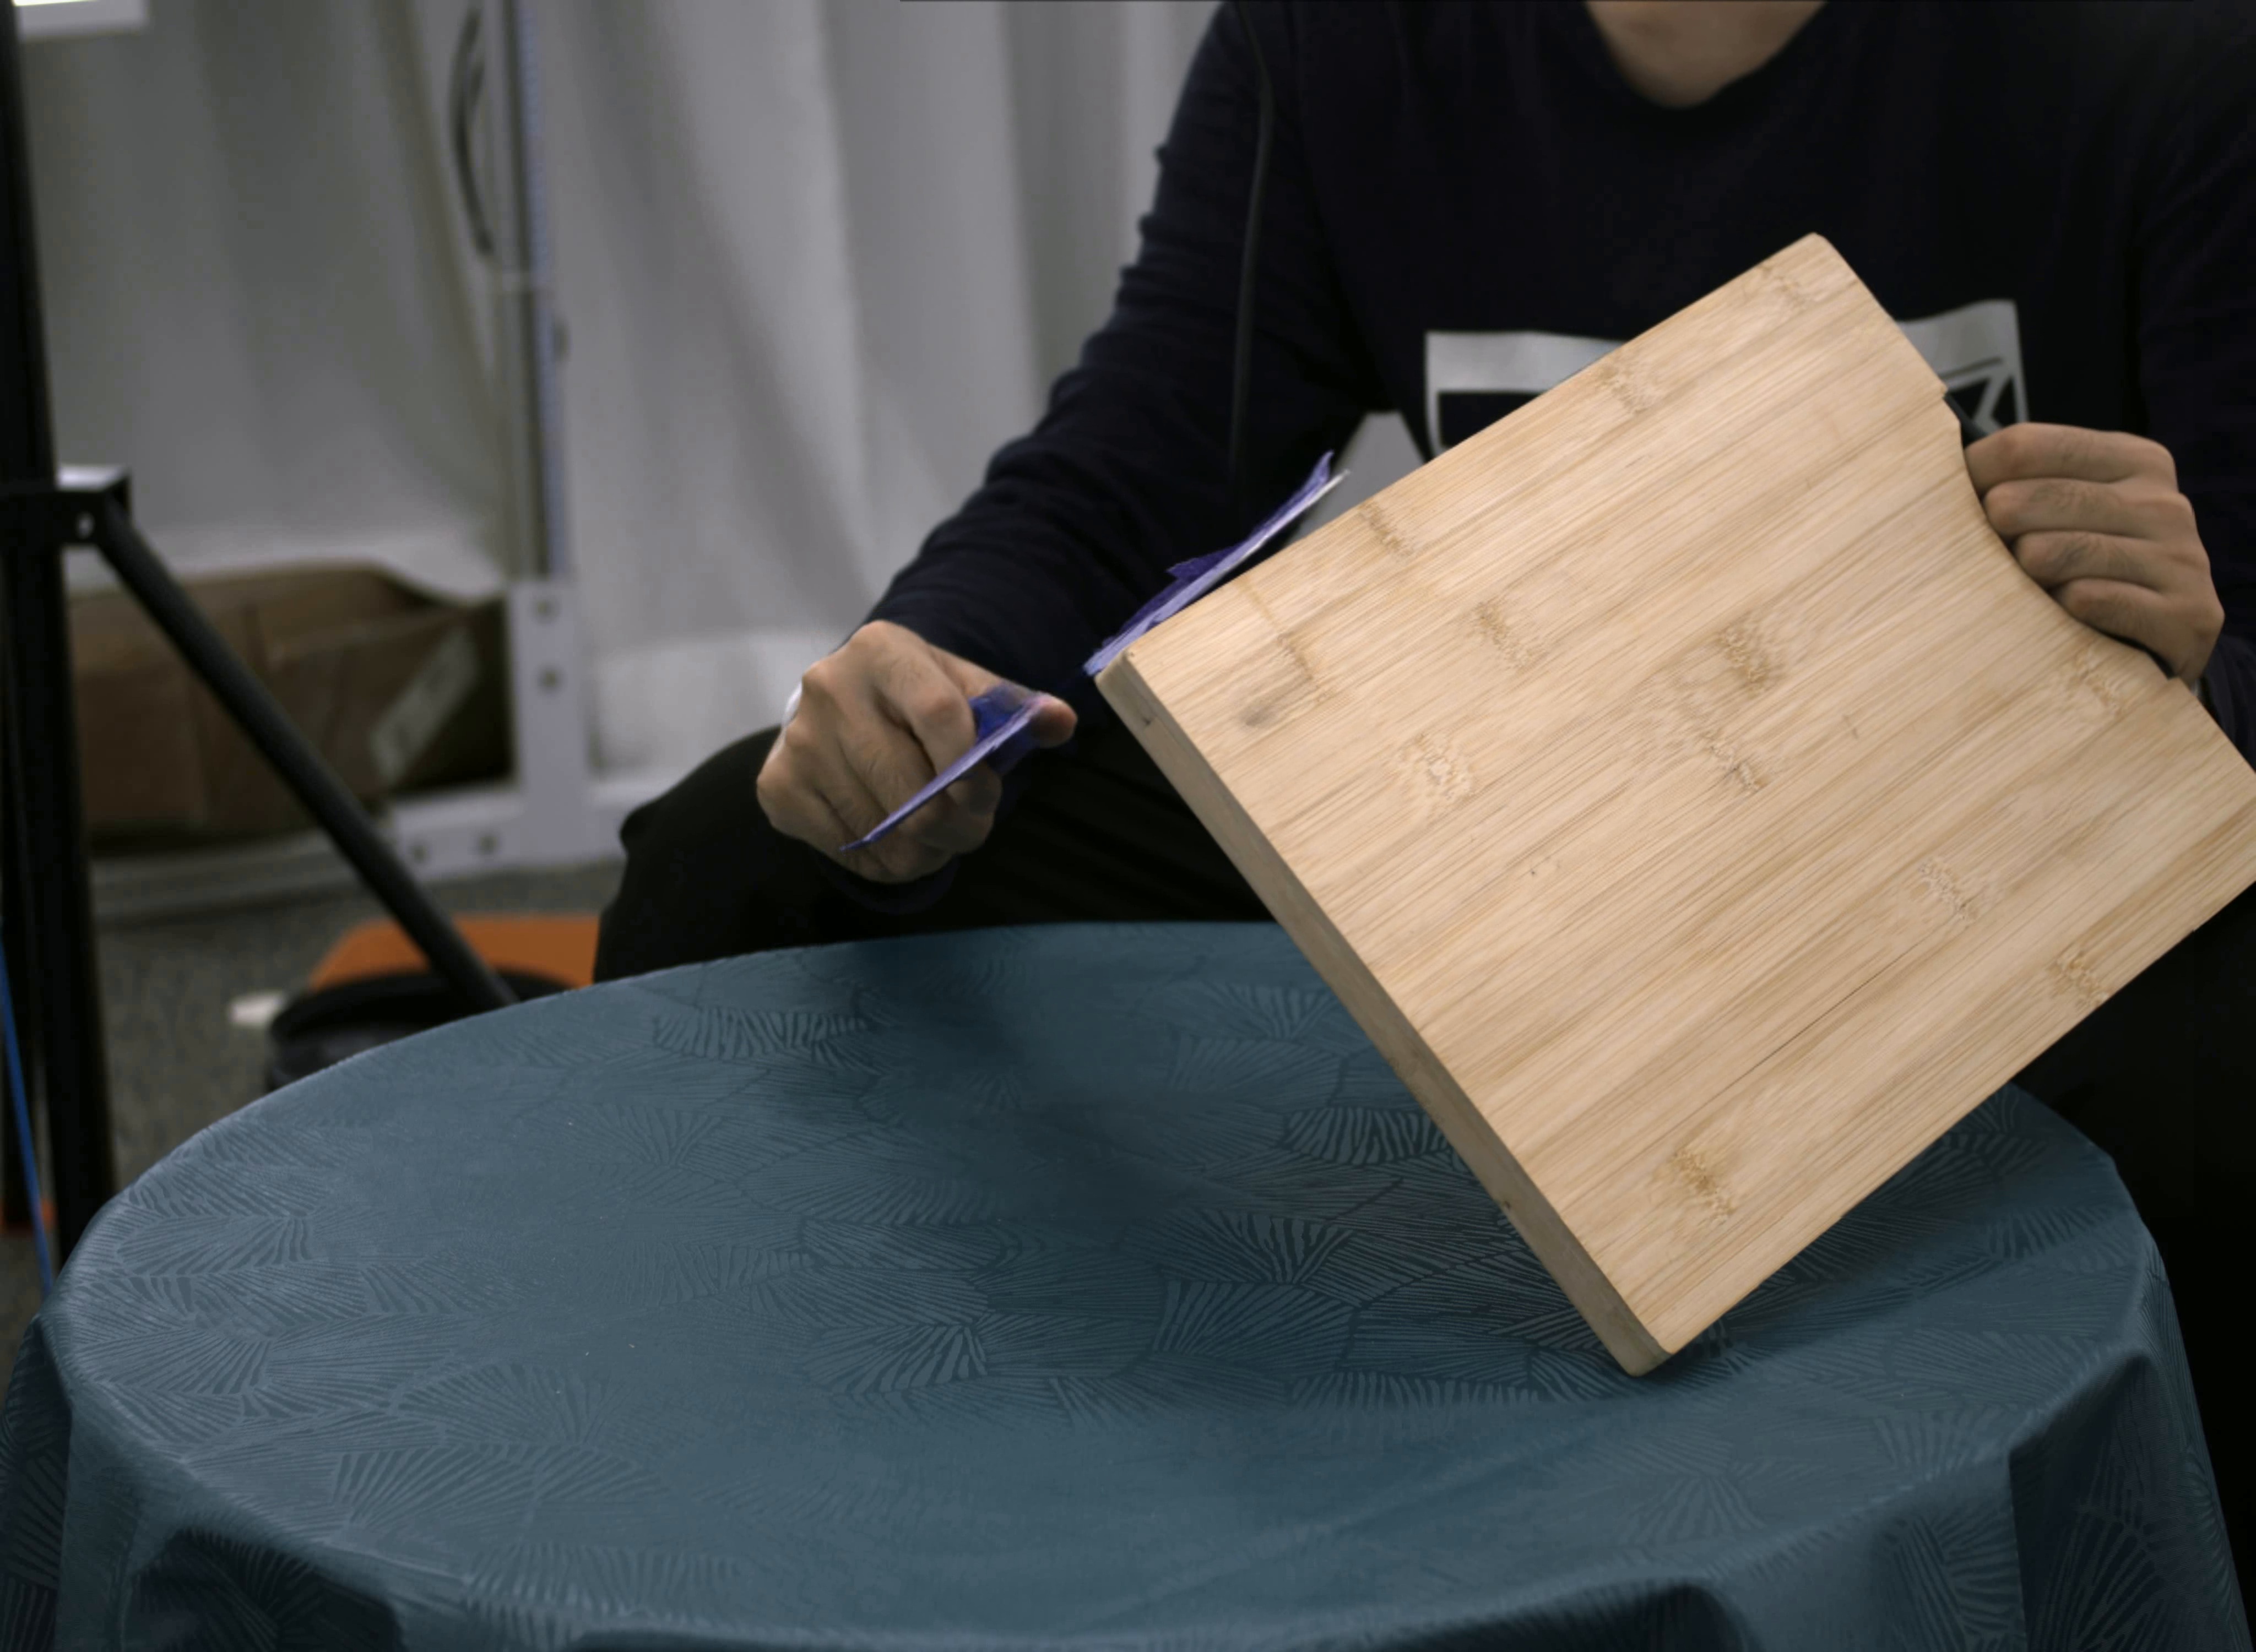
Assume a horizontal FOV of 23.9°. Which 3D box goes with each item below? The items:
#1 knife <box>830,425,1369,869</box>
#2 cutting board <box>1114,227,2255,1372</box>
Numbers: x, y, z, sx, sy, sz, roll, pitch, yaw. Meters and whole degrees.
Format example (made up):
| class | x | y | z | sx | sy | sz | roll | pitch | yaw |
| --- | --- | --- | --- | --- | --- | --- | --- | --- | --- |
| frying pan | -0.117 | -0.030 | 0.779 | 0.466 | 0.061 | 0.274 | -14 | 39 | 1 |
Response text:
| class | x | y | z | sx | sy | sz | roll | pitch | yaw |
| --- | --- | --- | --- | --- | --- | --- | --- | --- | --- |
| knife | -0.035 | -0.036 | 1.591 | 0.102 | 0.032 | 0.319 | -39 | 0 | -33 |
| cutting board | 0.177 | -0.019 | 1.524 | 0.342 | 0.252 | 0.024 | -32 | -10 | -41 |
